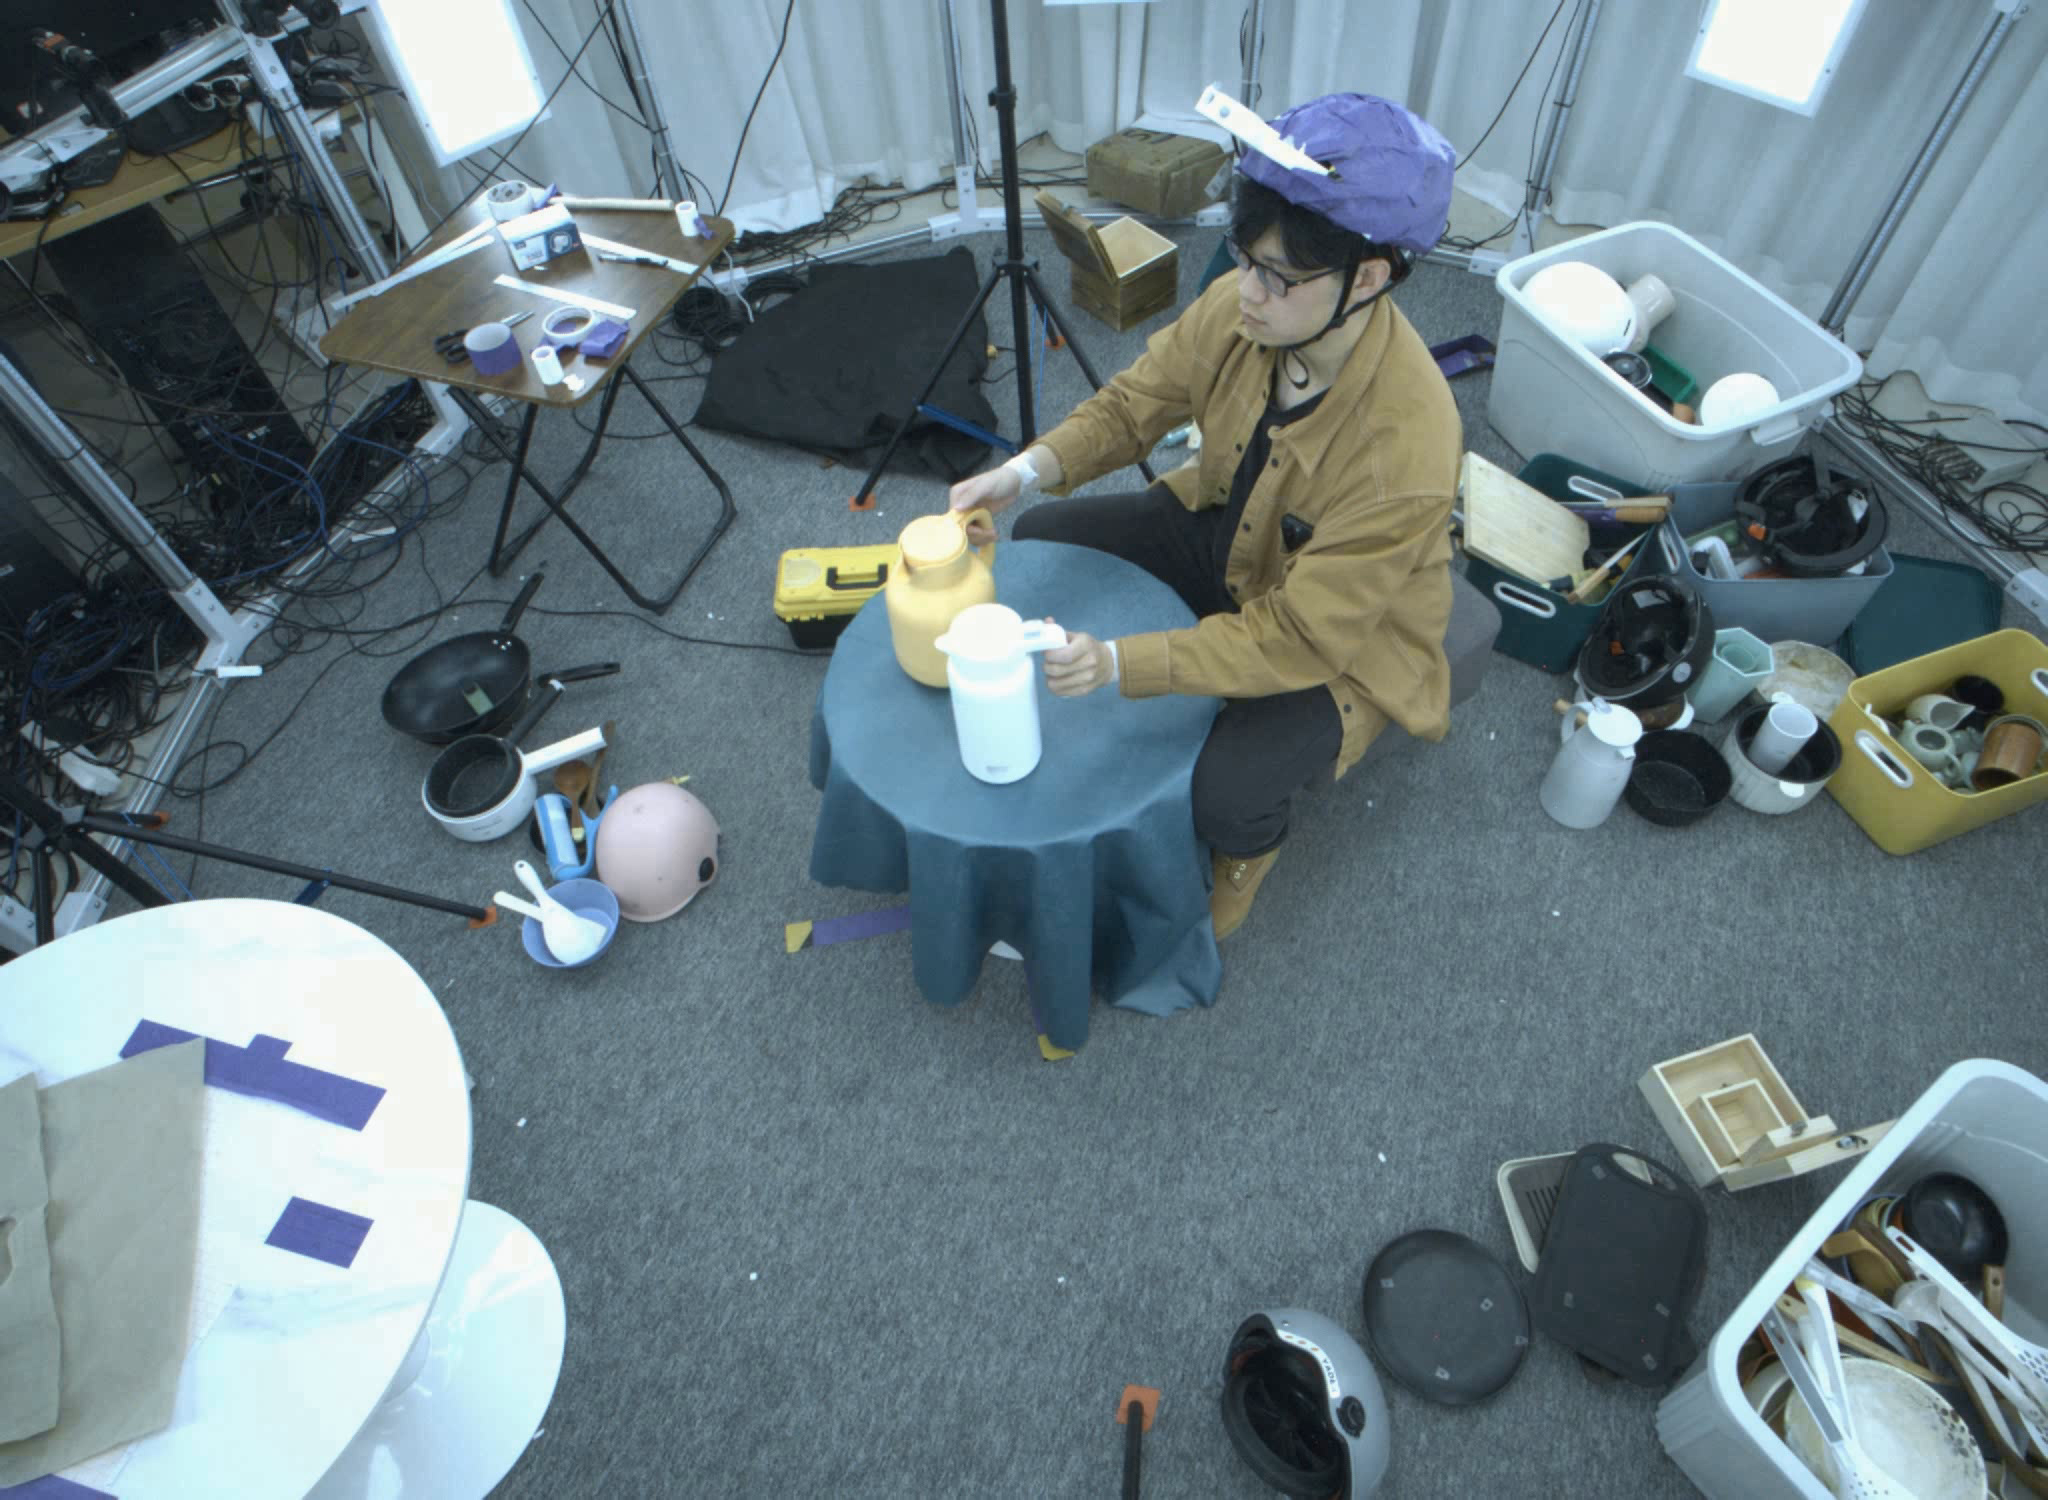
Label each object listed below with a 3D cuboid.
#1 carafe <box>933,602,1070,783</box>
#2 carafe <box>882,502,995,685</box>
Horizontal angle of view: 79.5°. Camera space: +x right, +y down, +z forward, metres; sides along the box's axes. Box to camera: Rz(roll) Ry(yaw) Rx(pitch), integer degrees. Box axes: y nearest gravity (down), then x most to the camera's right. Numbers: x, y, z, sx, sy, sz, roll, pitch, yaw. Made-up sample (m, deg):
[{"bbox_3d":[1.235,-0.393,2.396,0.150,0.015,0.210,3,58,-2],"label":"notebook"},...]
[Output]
[{"bbox_3d":[-0.024,-0.078,1.674,0.173,0.272,0.122,-9,52,-3],"label":"carafe"},{"bbox_3d":[-0.112,-0.235,1.793,0.161,0.263,0.203,31,62,20],"label":"carafe"}]
